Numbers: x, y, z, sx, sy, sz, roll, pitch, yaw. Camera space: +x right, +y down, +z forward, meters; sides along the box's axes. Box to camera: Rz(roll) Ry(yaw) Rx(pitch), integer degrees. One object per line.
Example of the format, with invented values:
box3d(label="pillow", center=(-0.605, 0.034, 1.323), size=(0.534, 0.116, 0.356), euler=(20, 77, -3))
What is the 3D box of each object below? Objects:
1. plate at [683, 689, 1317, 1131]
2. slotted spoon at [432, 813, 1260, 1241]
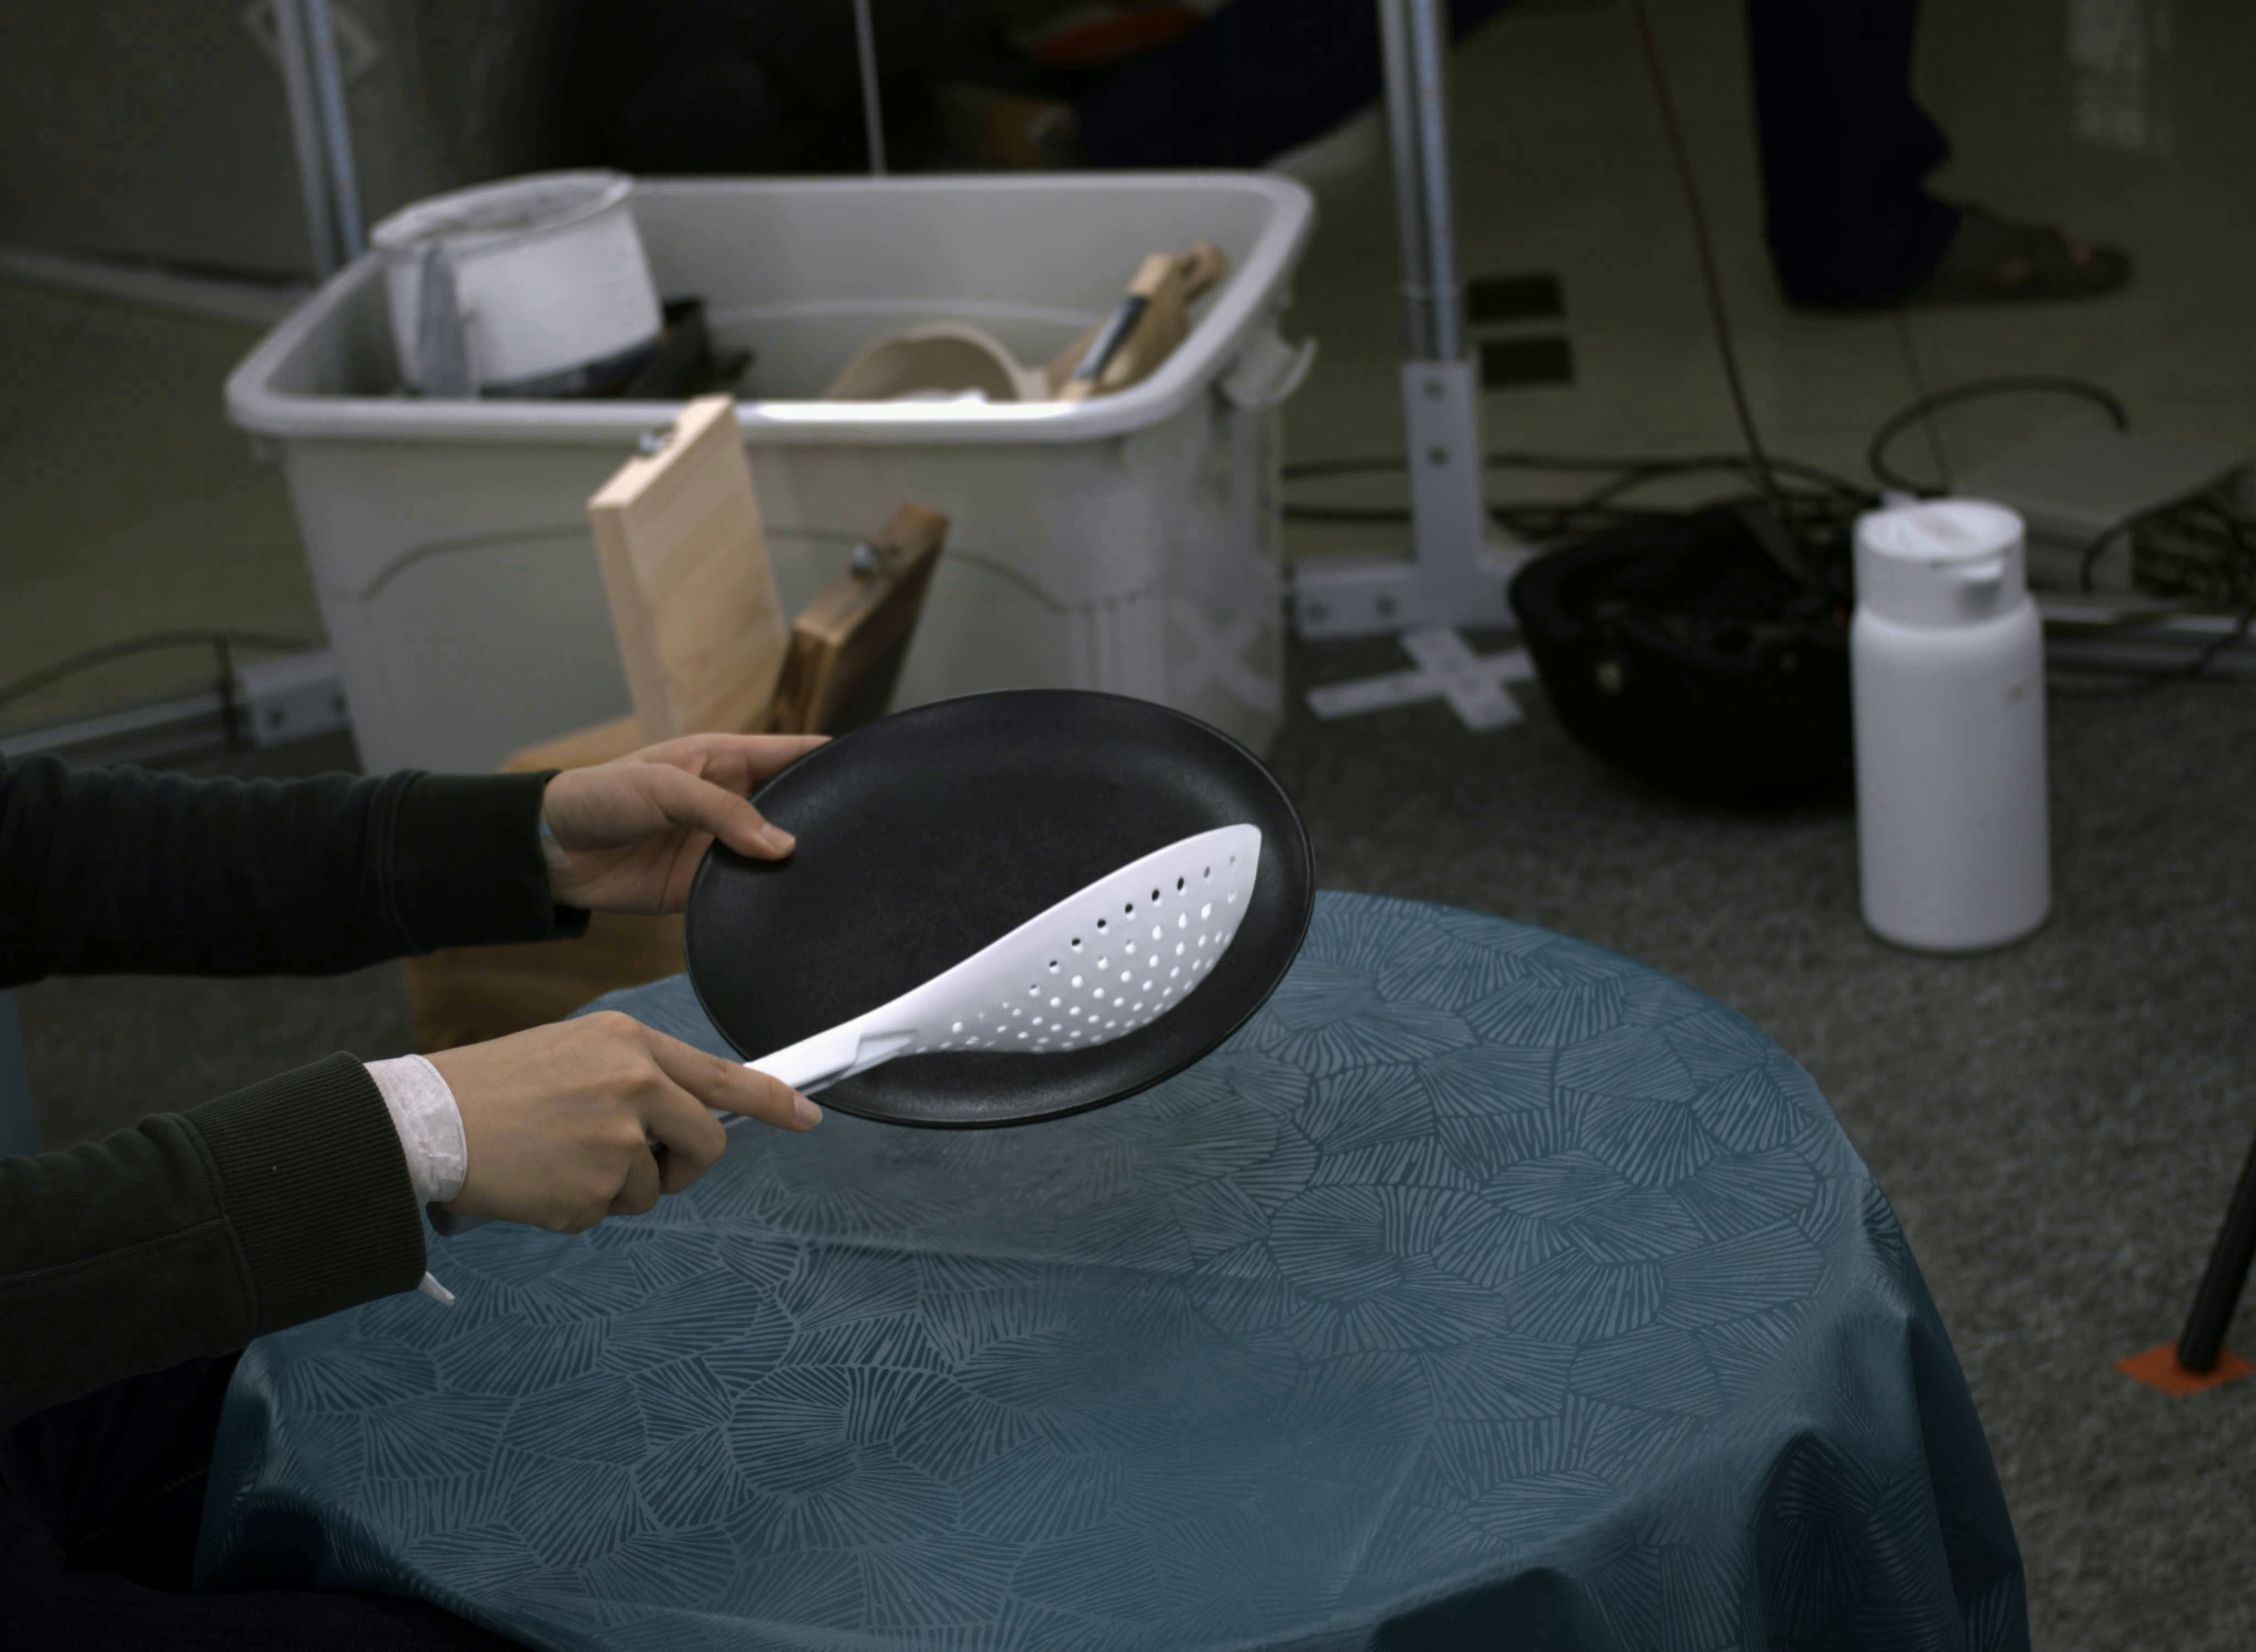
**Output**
box3d(label="plate", center=(-0.048, 0.035, 2.162), size=(0.244, 0.024, 0.240), euler=(-4, 43, 4))
box3d(label="slotted spoon", center=(-0.091, 0.073, 1.968), size=(0.348, 0.138, 0.045), euler=(-17, 72, -32))
